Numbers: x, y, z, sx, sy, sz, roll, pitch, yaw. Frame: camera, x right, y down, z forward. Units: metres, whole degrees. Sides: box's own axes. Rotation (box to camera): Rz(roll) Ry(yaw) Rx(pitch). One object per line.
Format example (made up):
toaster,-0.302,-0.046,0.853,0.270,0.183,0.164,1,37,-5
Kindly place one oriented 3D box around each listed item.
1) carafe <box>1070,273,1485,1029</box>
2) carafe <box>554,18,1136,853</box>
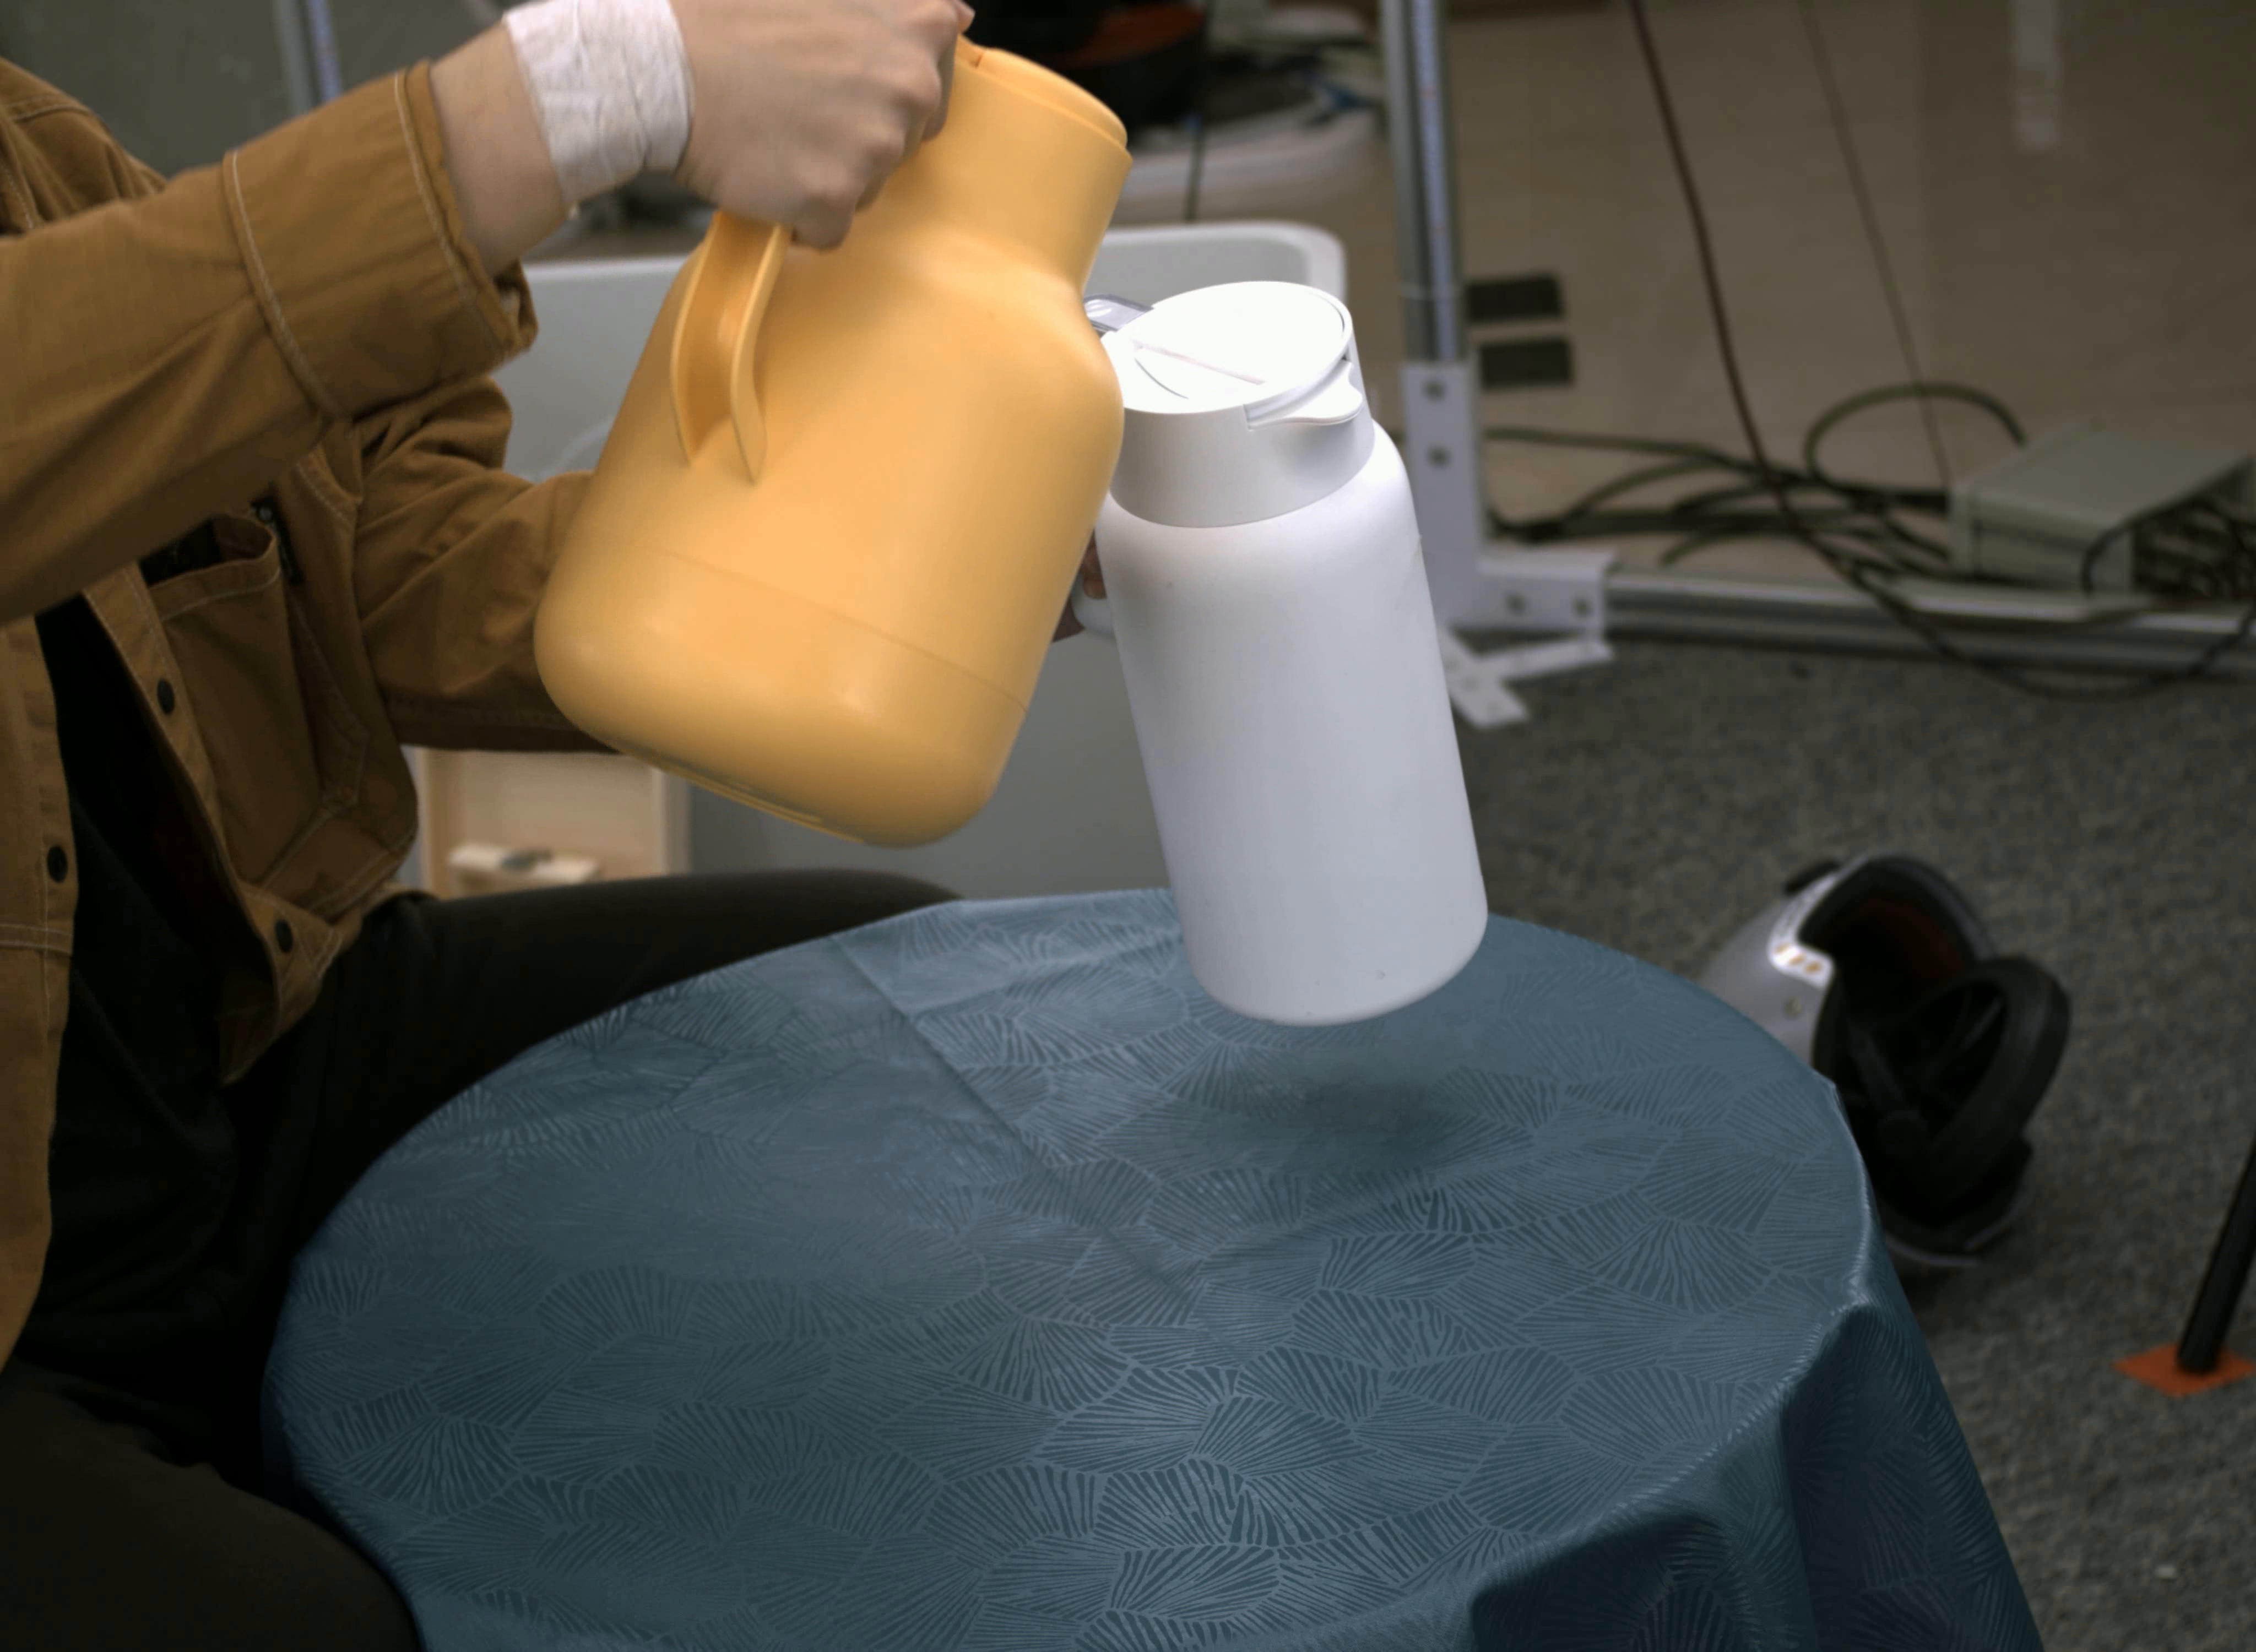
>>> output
carafe,0.044,-0.067,2.106,0.122,0.274,0.171,-37,40,-29
carafe,-0.090,-0.136,1.860,0.162,0.260,0.204,15,-6,28
